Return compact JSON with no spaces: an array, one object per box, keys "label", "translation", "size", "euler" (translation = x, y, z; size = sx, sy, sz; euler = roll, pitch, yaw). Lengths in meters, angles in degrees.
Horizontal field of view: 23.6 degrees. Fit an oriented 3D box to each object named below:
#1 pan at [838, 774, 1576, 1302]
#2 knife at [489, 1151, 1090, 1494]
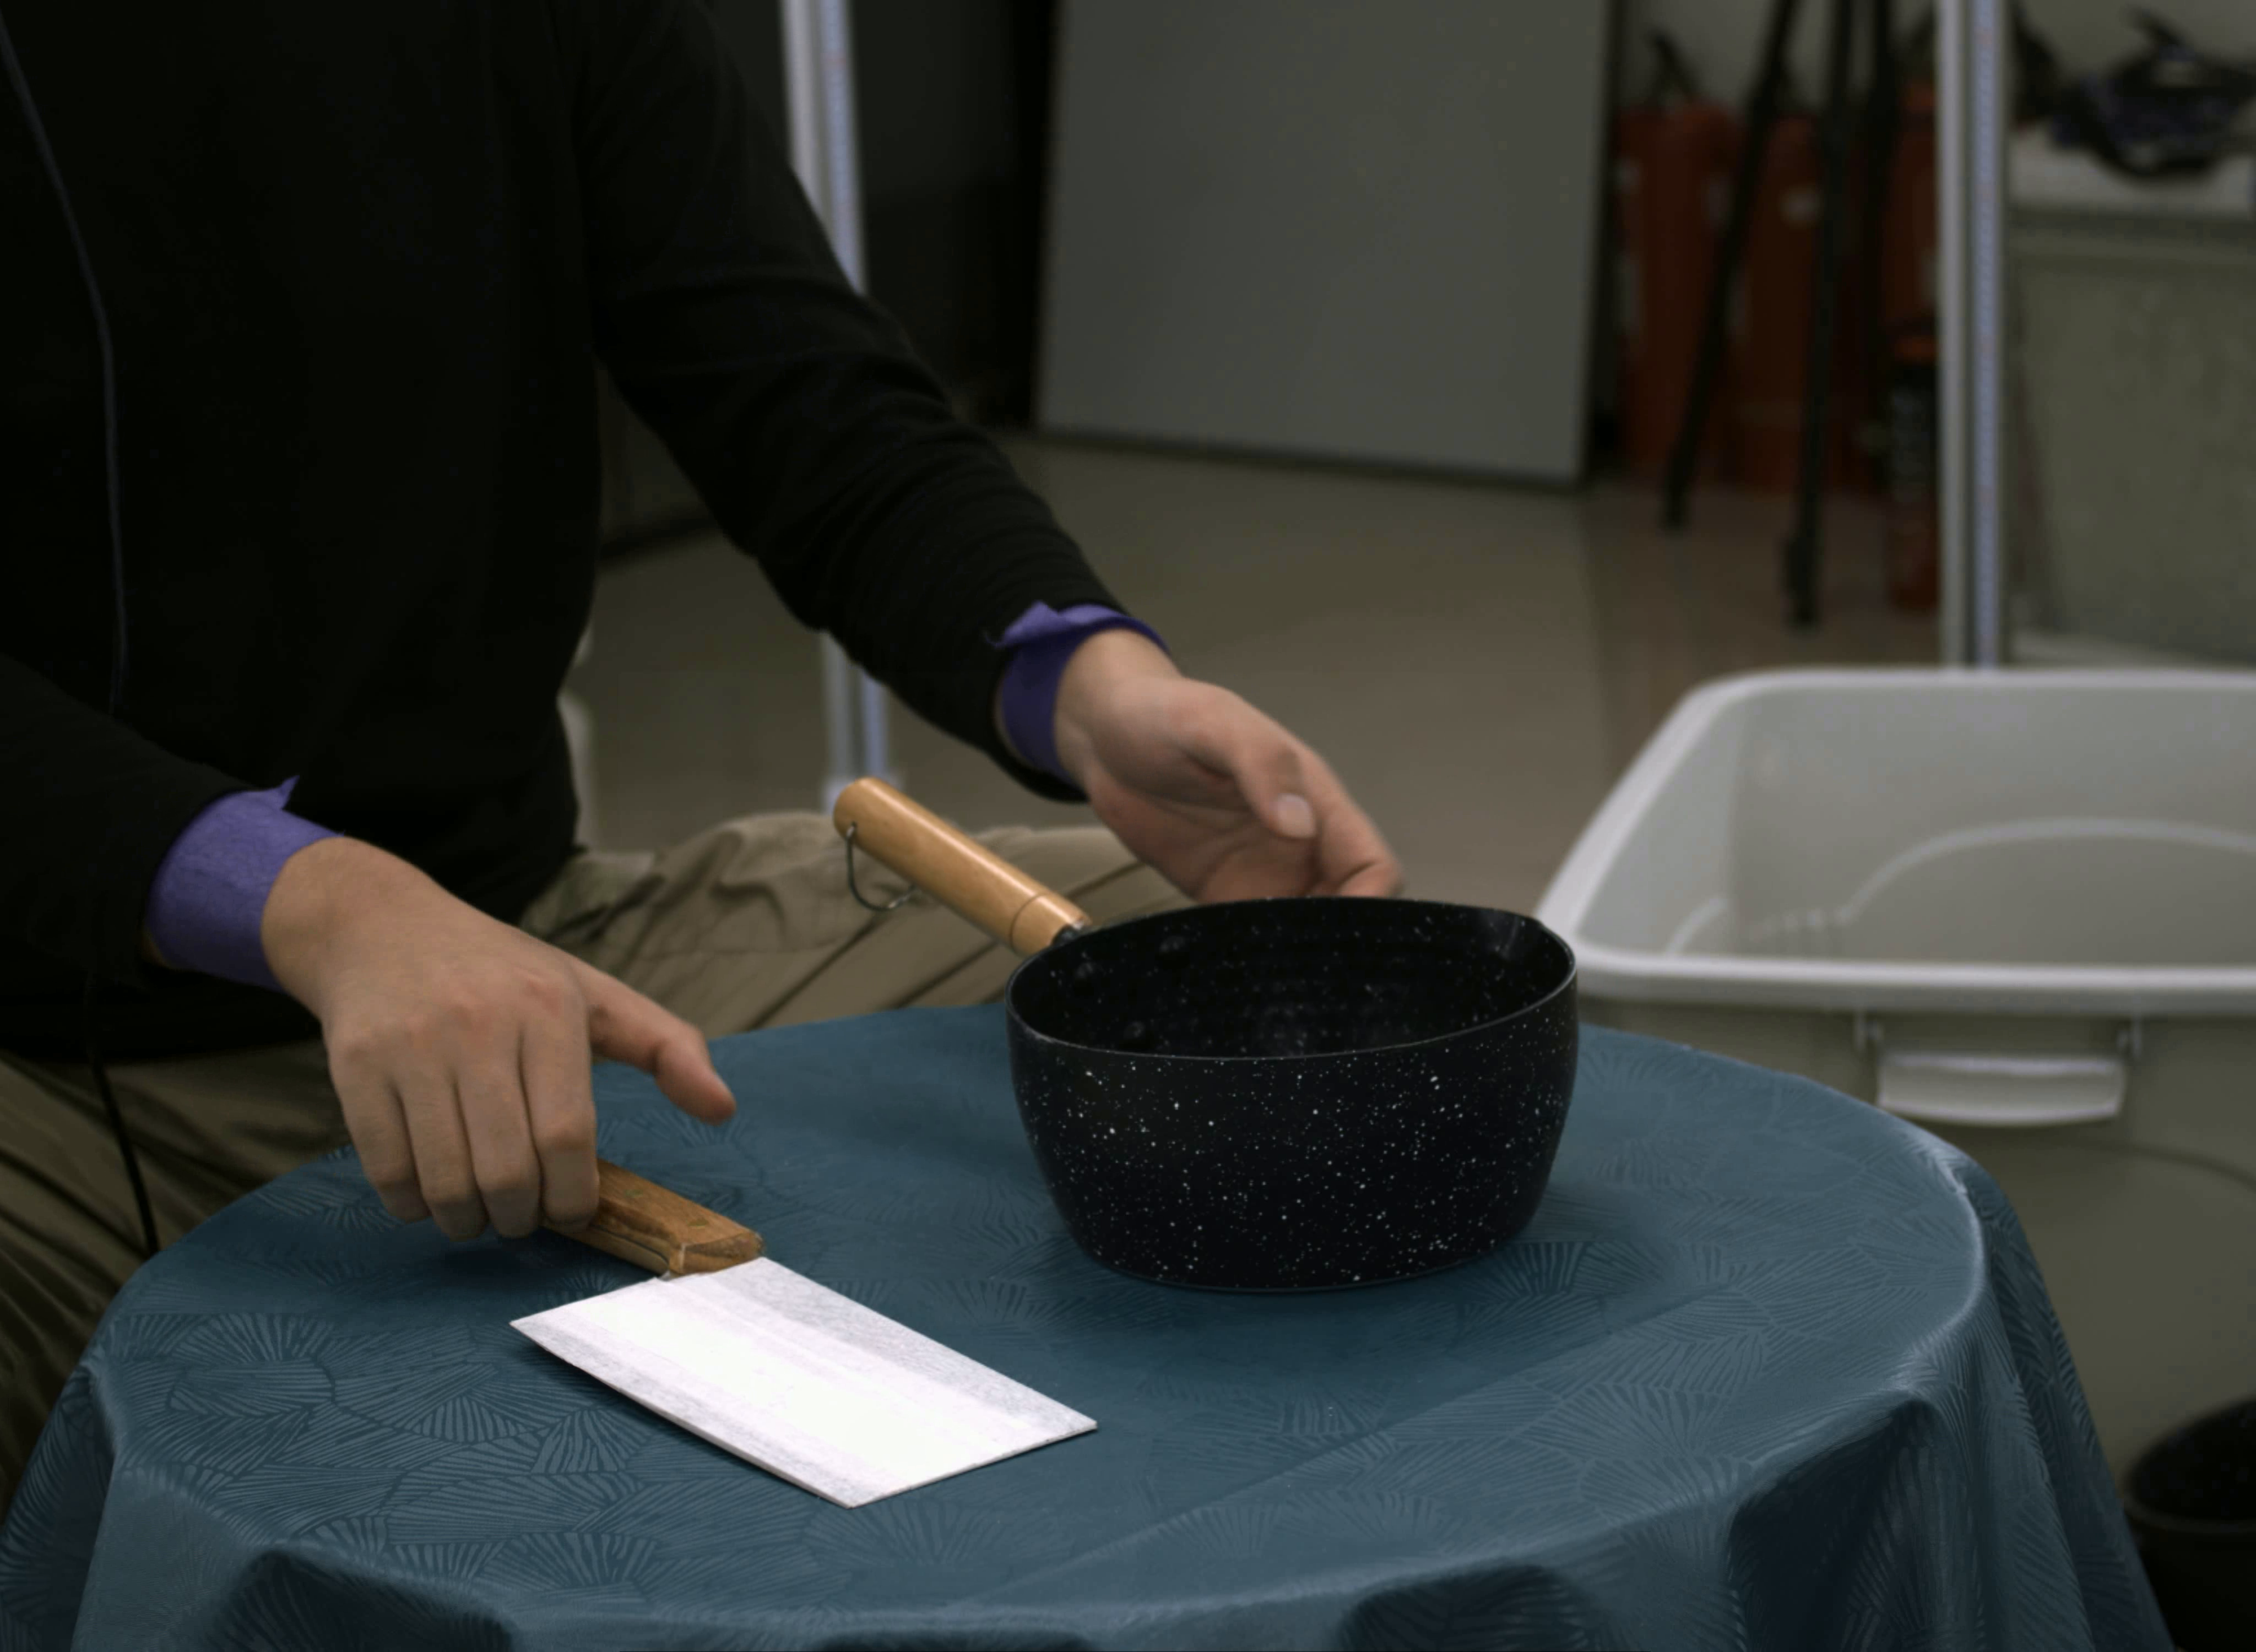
[{"label":"pan","translation":[0.005,0.064,1.783],"size":[0.203,0.109,0.346],"euler":[-14,18,-34]},{"label":"knife","translation":[-0.130,0.153,1.656],"size":[0.091,0.021,0.309],"euler":[-15,20,-33]}]
